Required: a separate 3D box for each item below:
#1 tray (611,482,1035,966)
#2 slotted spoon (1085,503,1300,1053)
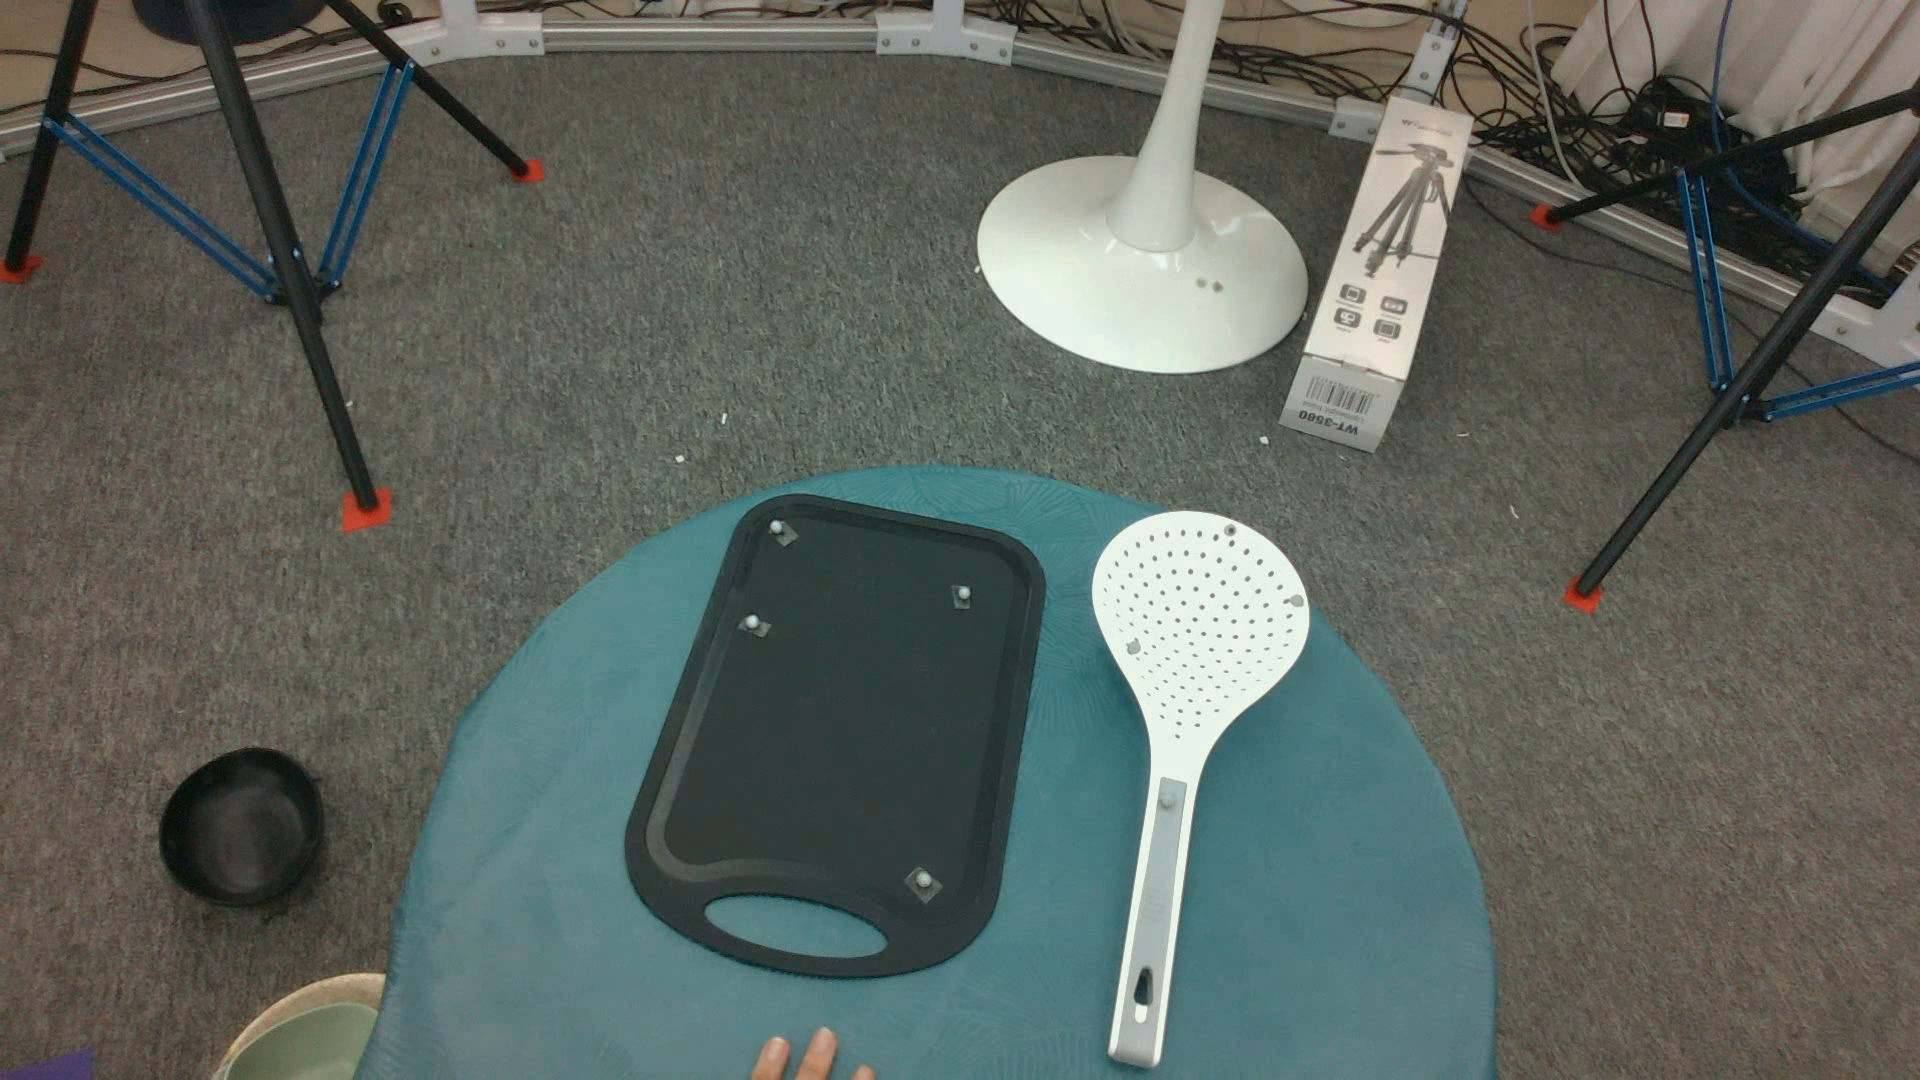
[{"bbox_3d":[-0.073,0.095,0.823,0.211,0.010,0.327,11,50,1],"label":"tray"},{"bbox_3d":[0.121,0.122,0.806,0.136,0.045,0.351,13,51,5],"label":"slotted spoon"}]
